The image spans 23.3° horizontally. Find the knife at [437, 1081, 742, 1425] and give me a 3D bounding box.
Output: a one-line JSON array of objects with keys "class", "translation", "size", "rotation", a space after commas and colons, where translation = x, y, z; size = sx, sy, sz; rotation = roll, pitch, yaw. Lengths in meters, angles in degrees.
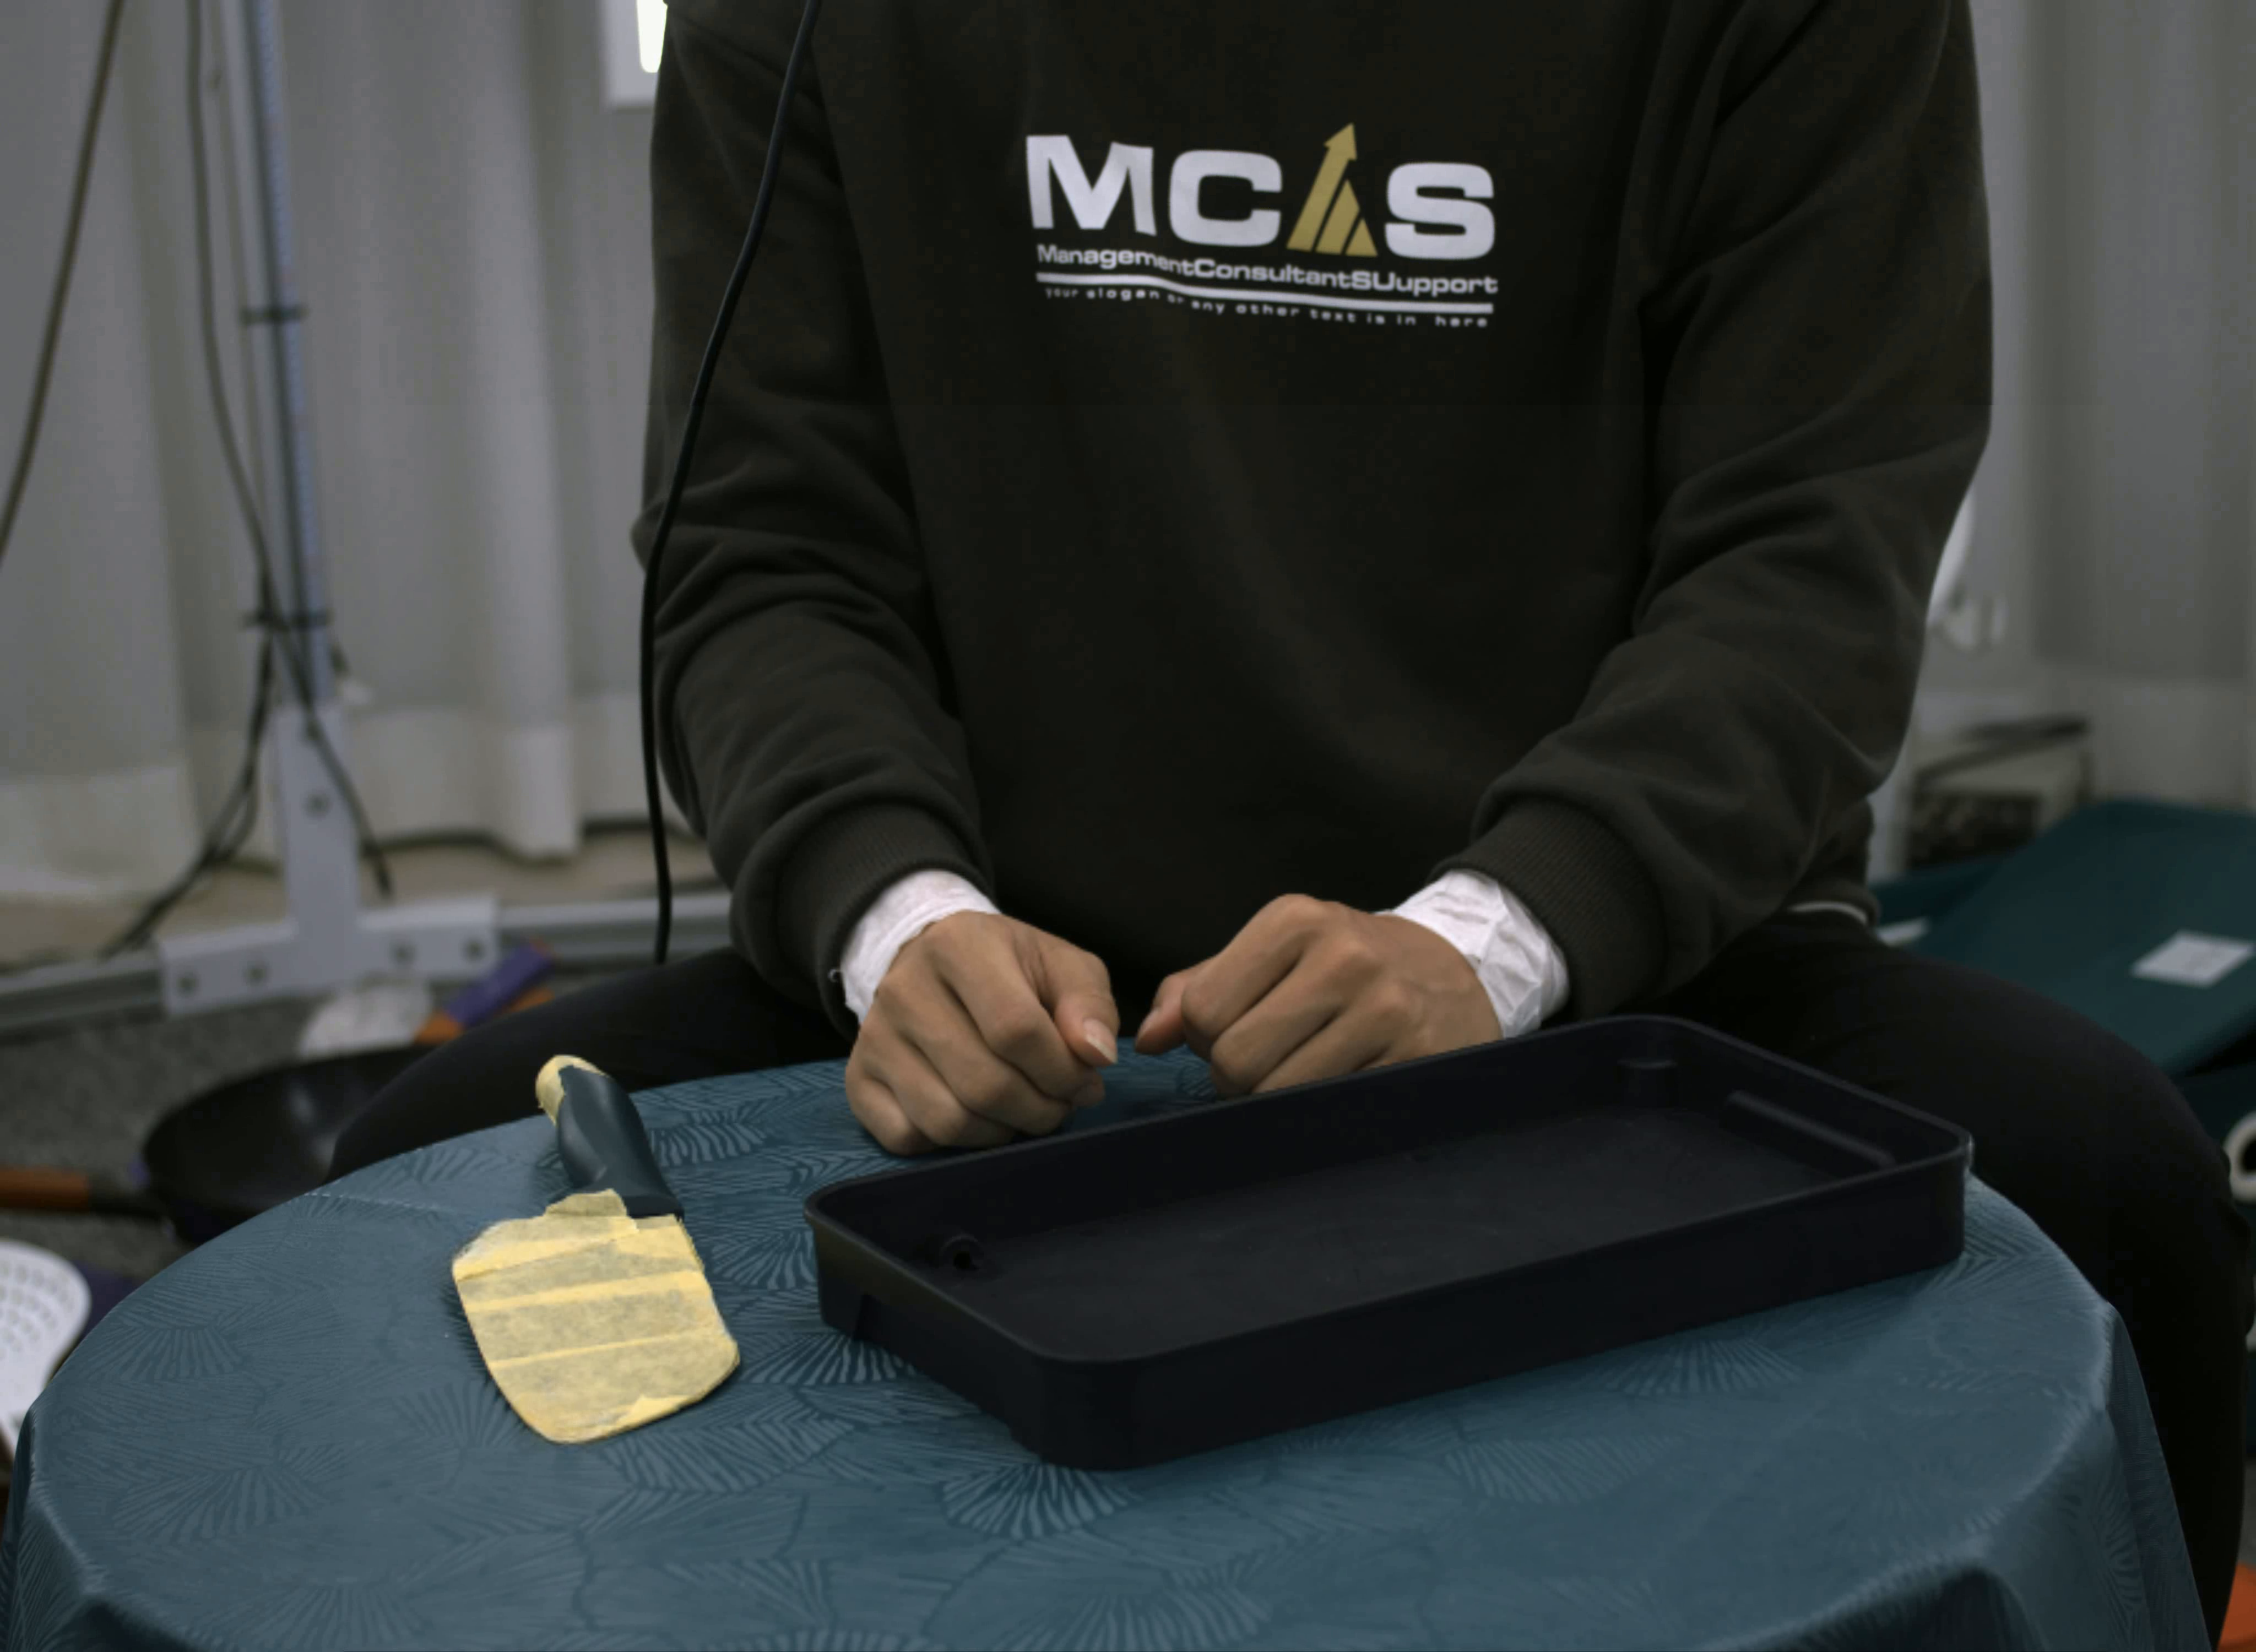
[{"class": "knife", "translation": [-0.169, 0.130, 1.665], "size": [0.080, 0.027, 0.292], "rotation": [-4, 15, -10]}]

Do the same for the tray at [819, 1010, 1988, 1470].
[{"class": "tray", "translation": [0.083, 0.117, 1.623], "size": [0.317, 0.037, 0.185], "rotation": [-11, 16, -29]}]
